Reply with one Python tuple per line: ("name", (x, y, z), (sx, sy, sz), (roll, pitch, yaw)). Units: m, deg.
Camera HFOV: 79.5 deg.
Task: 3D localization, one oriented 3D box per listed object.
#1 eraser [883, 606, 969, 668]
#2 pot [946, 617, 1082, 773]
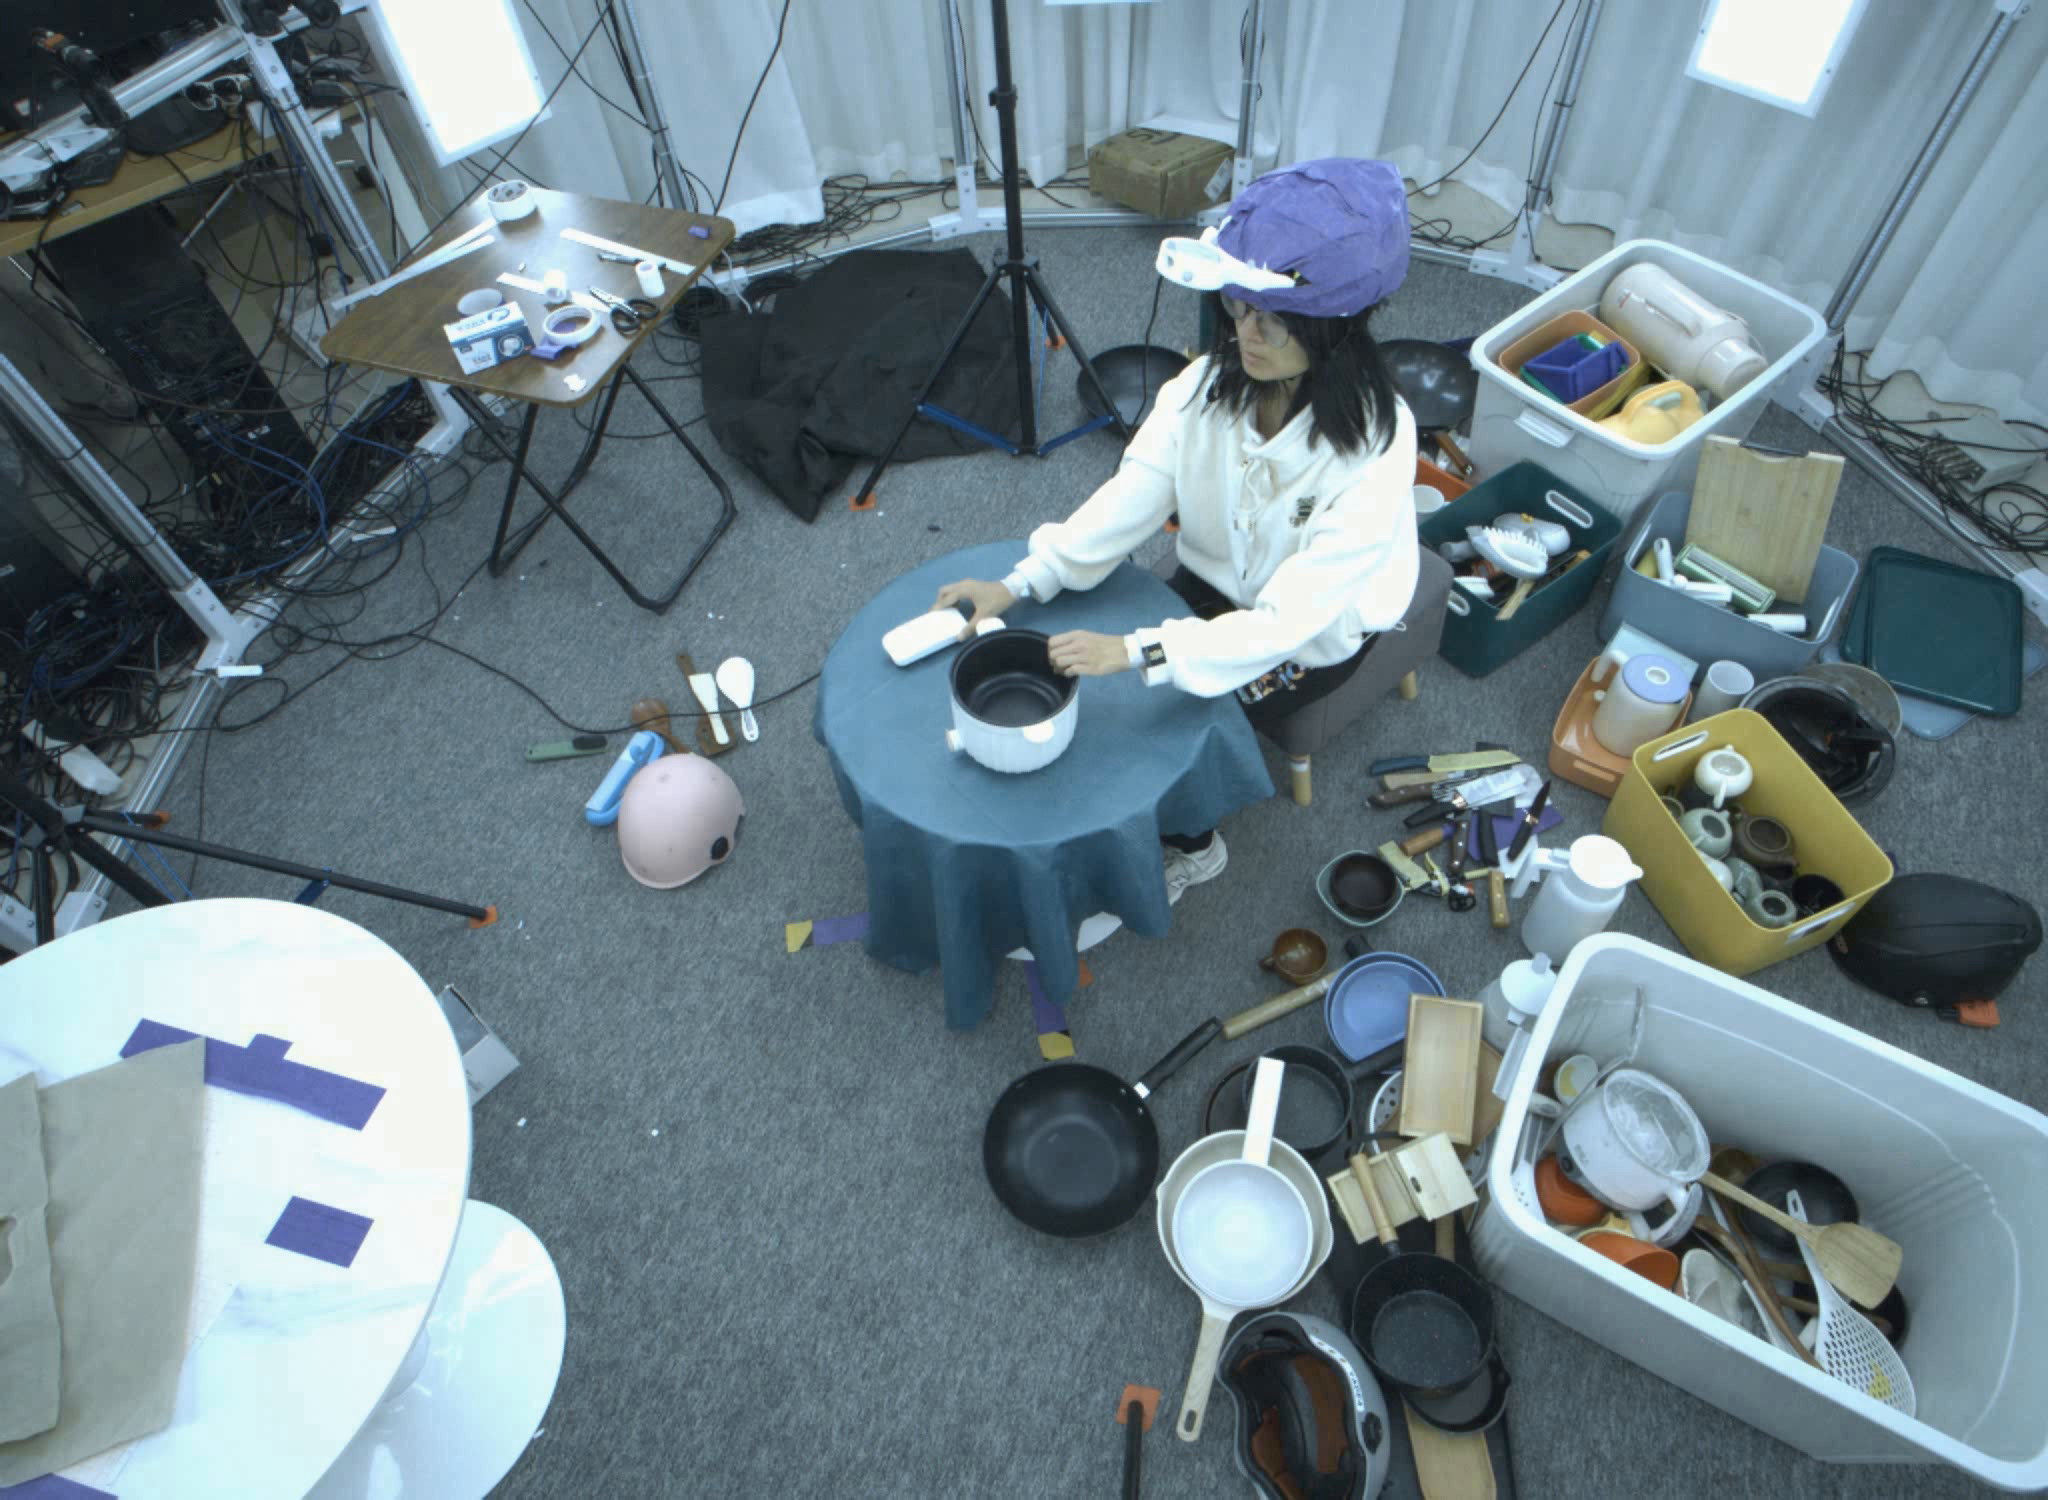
("eraser", (-0.151, -0.175, 1.898), (0.132, 0.035, 0.062), (-27, 60, -16))
("pot", (-0.017, -0.061, 1.743), (0.192, 0.144, 0.236), (-15, 54, -16))
